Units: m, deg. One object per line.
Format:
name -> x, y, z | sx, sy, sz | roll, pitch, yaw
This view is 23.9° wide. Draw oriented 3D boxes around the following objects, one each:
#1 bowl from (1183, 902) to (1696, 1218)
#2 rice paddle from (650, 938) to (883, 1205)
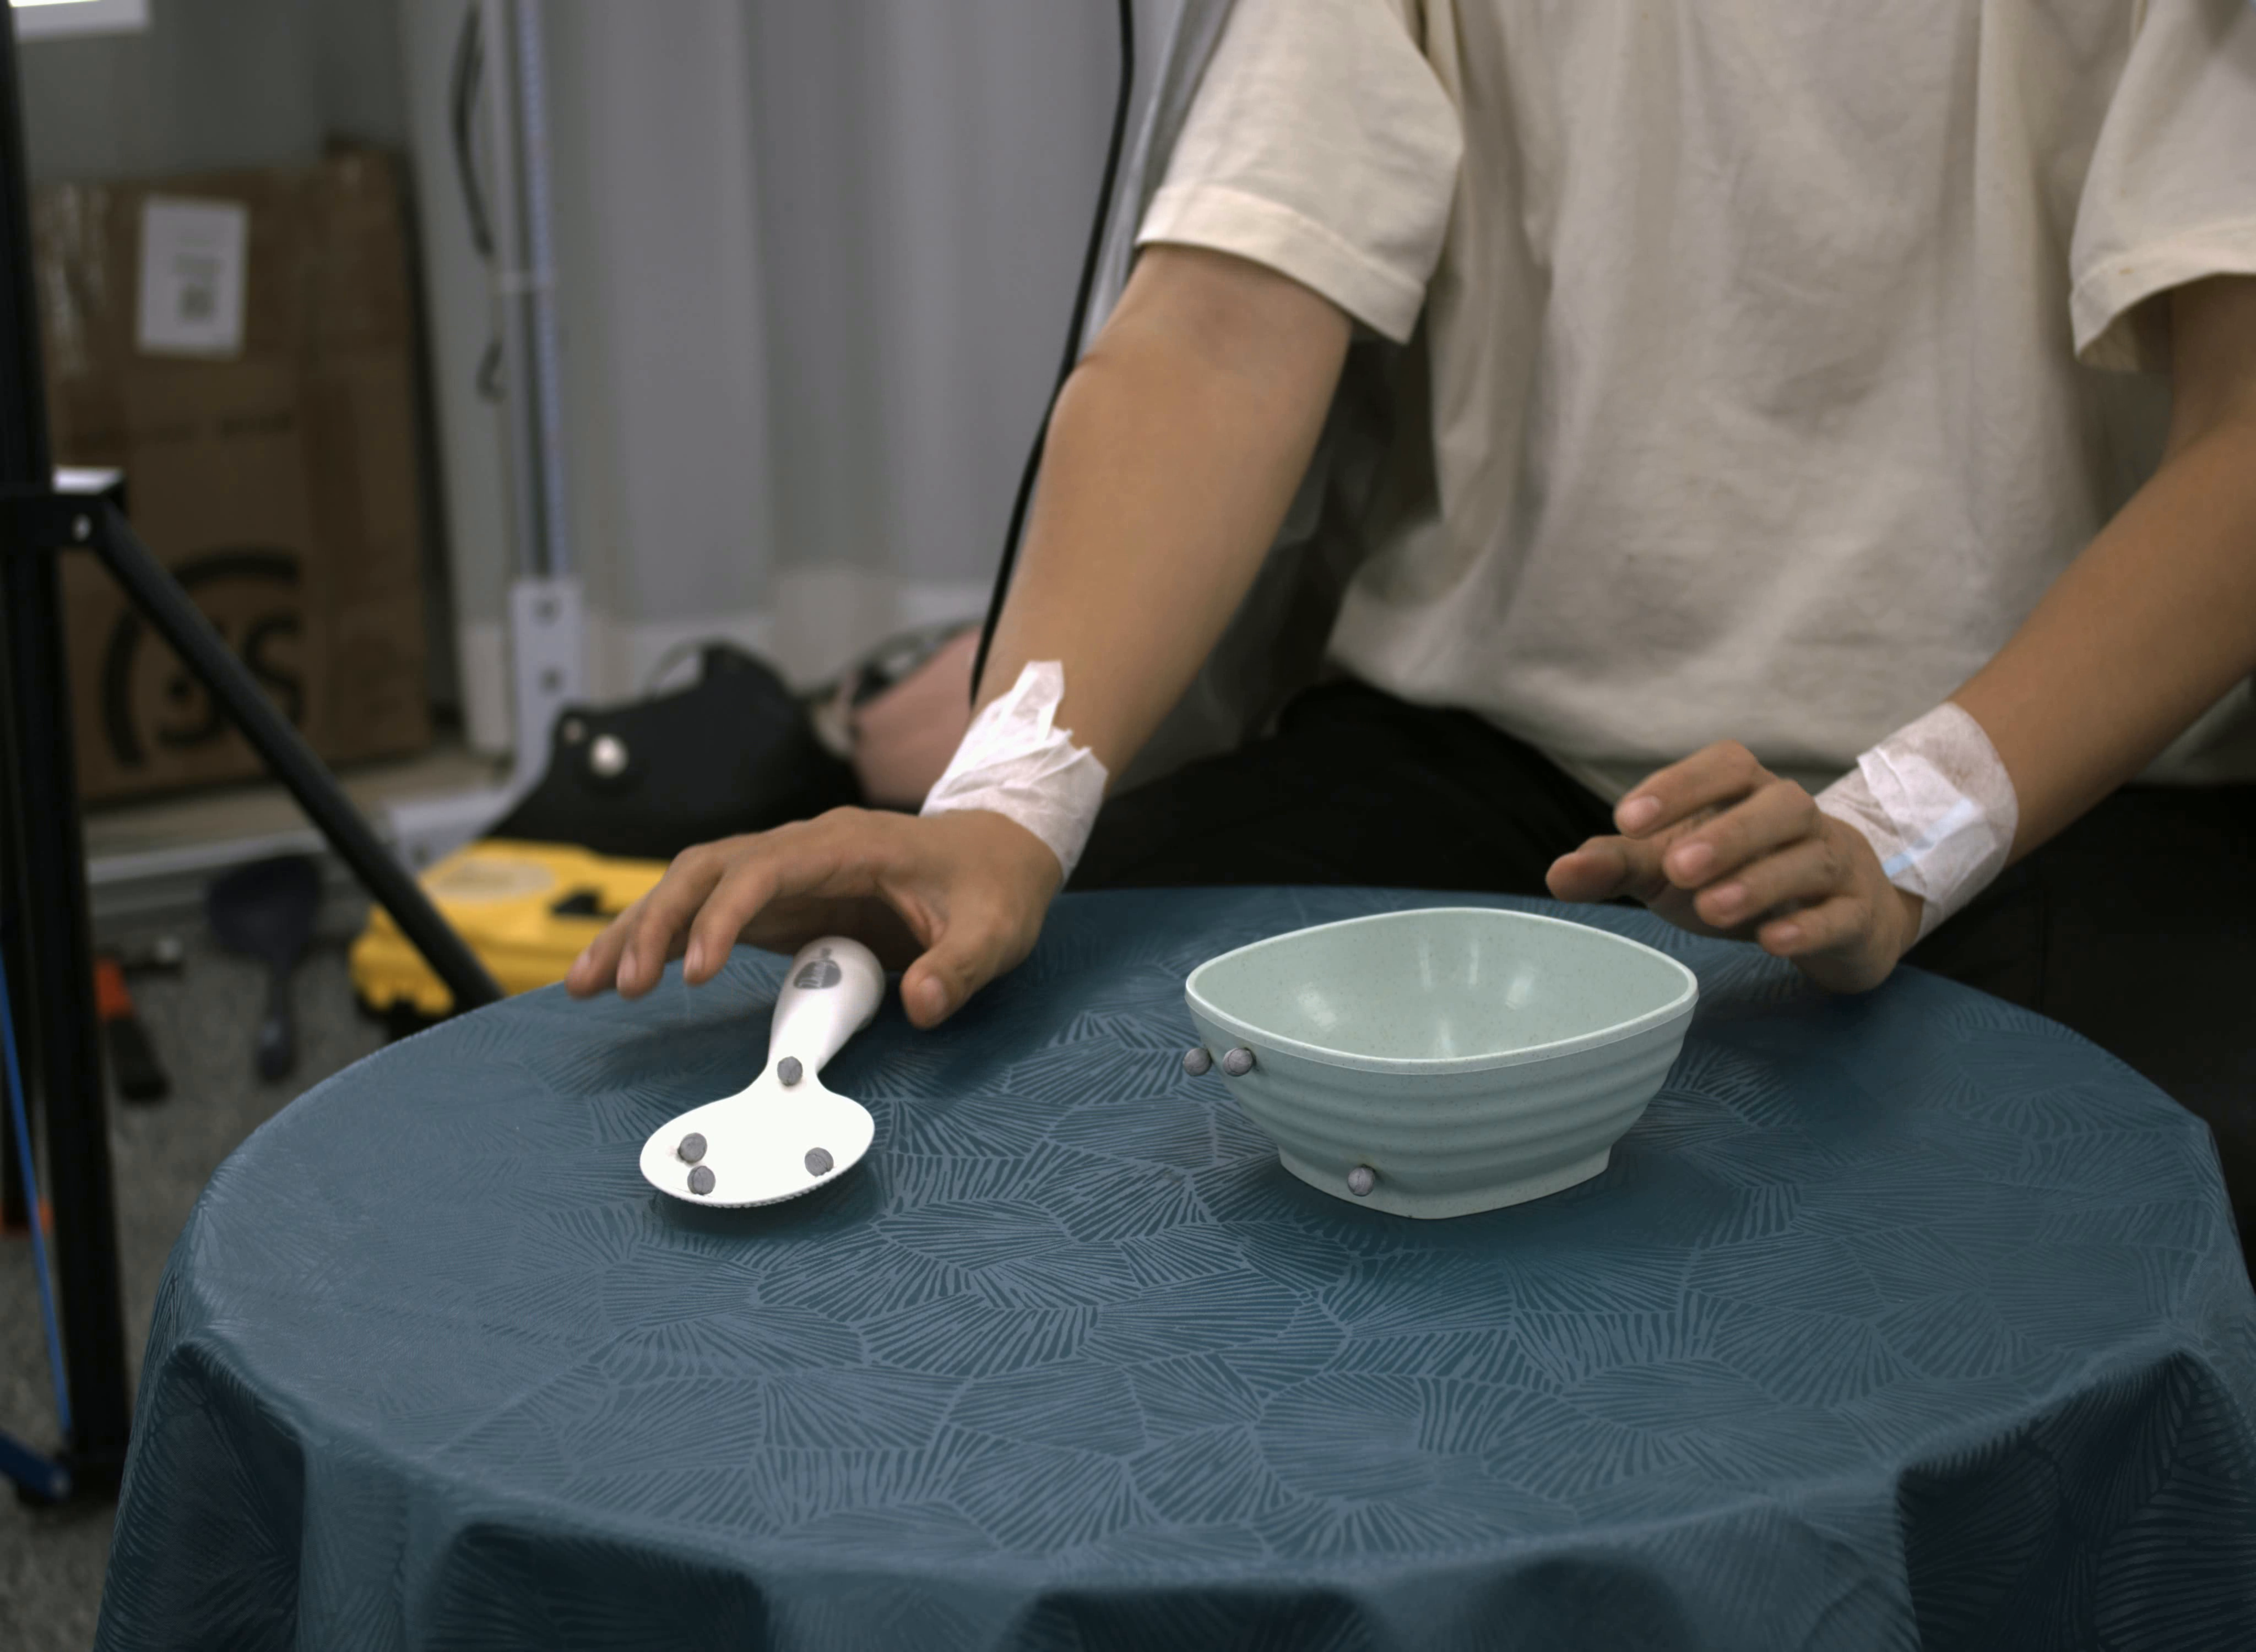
bowl -> 0.093, 0.072, 1.558 | 0.151, 0.058, 0.152 | -6, 15, 0
rice paddle -> -0.101, 0.077, 1.626 | 0.069, 0.029, 0.205 | -3, 15, 6
